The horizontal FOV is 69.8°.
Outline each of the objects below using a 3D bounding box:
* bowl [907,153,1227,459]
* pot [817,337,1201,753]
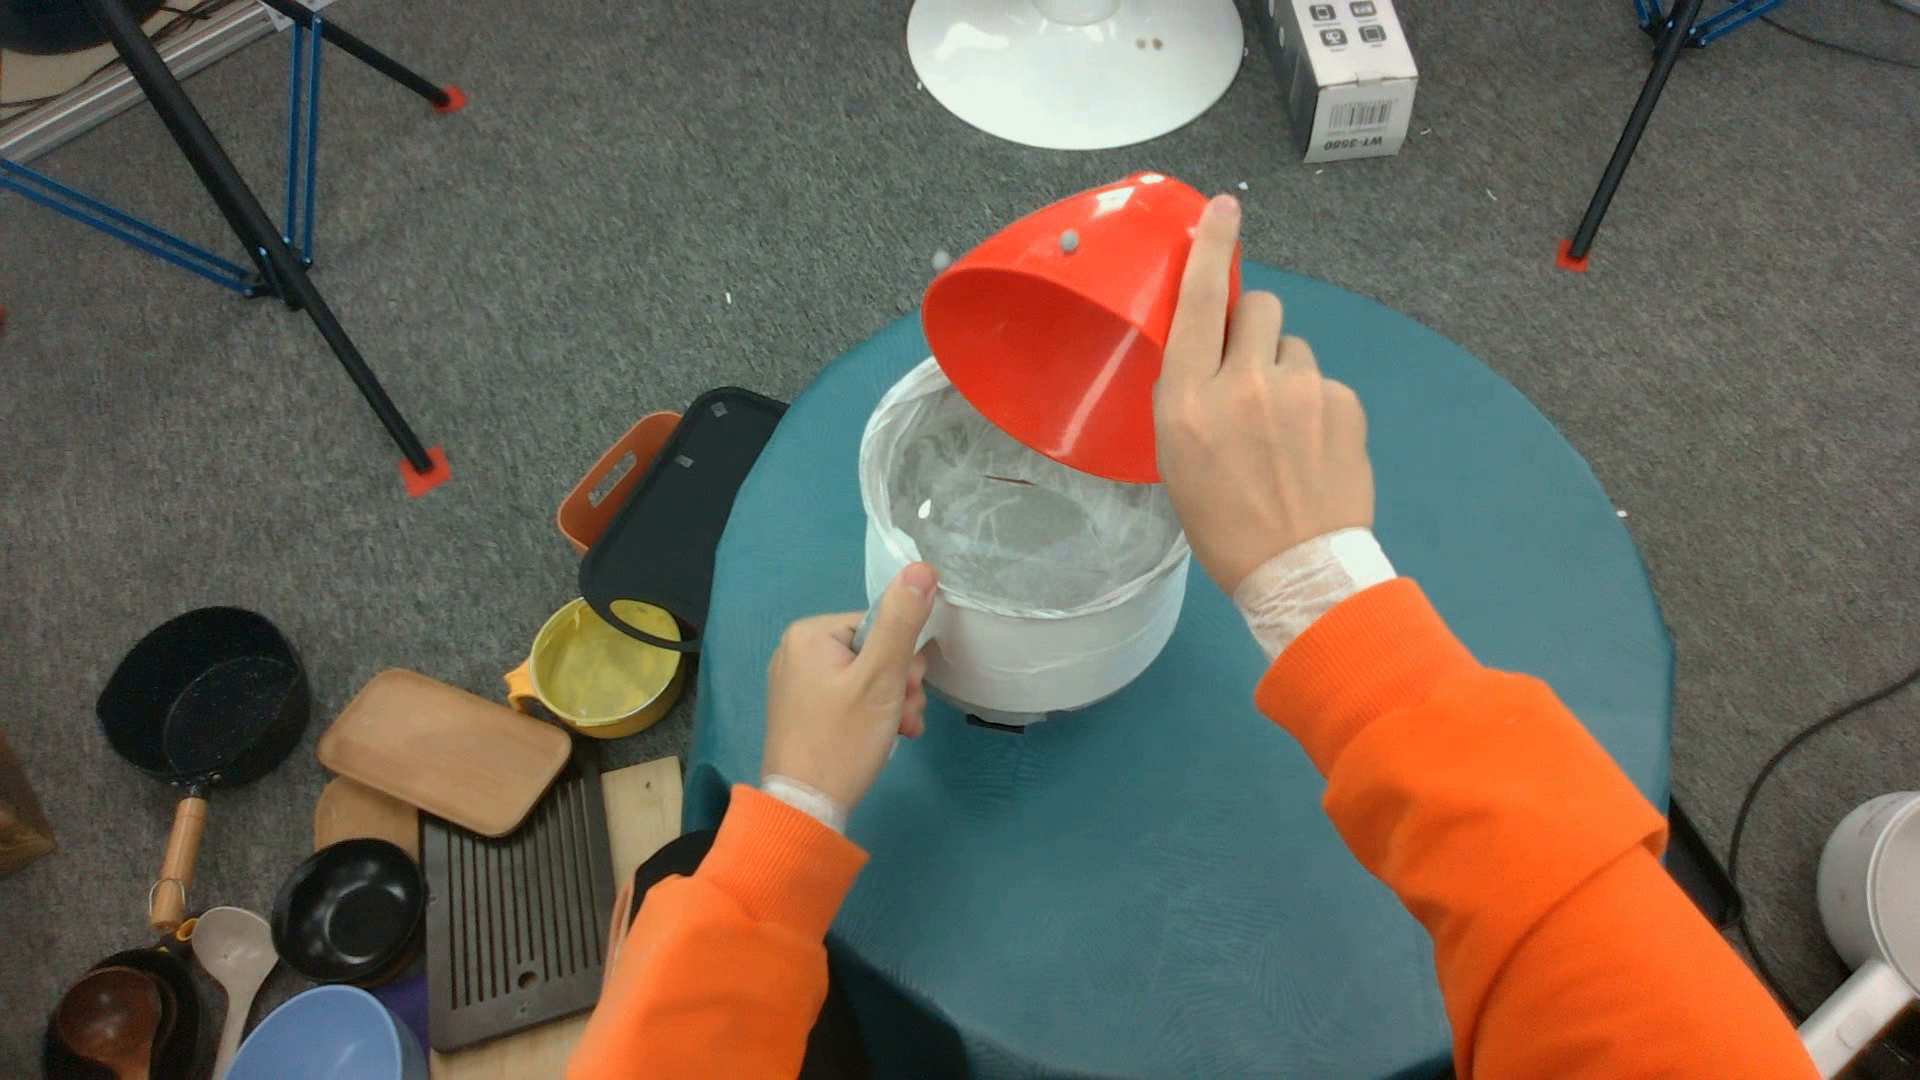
[{"bbox_3d":[0.062,-0.115,0.638,0.148,0.147,0.105,28,78,17],"label":"bowl"},{"bbox_3d":[0.014,0.008,0.726,0.179,0.136,0.235,34,61,20],"label":"pot"}]
